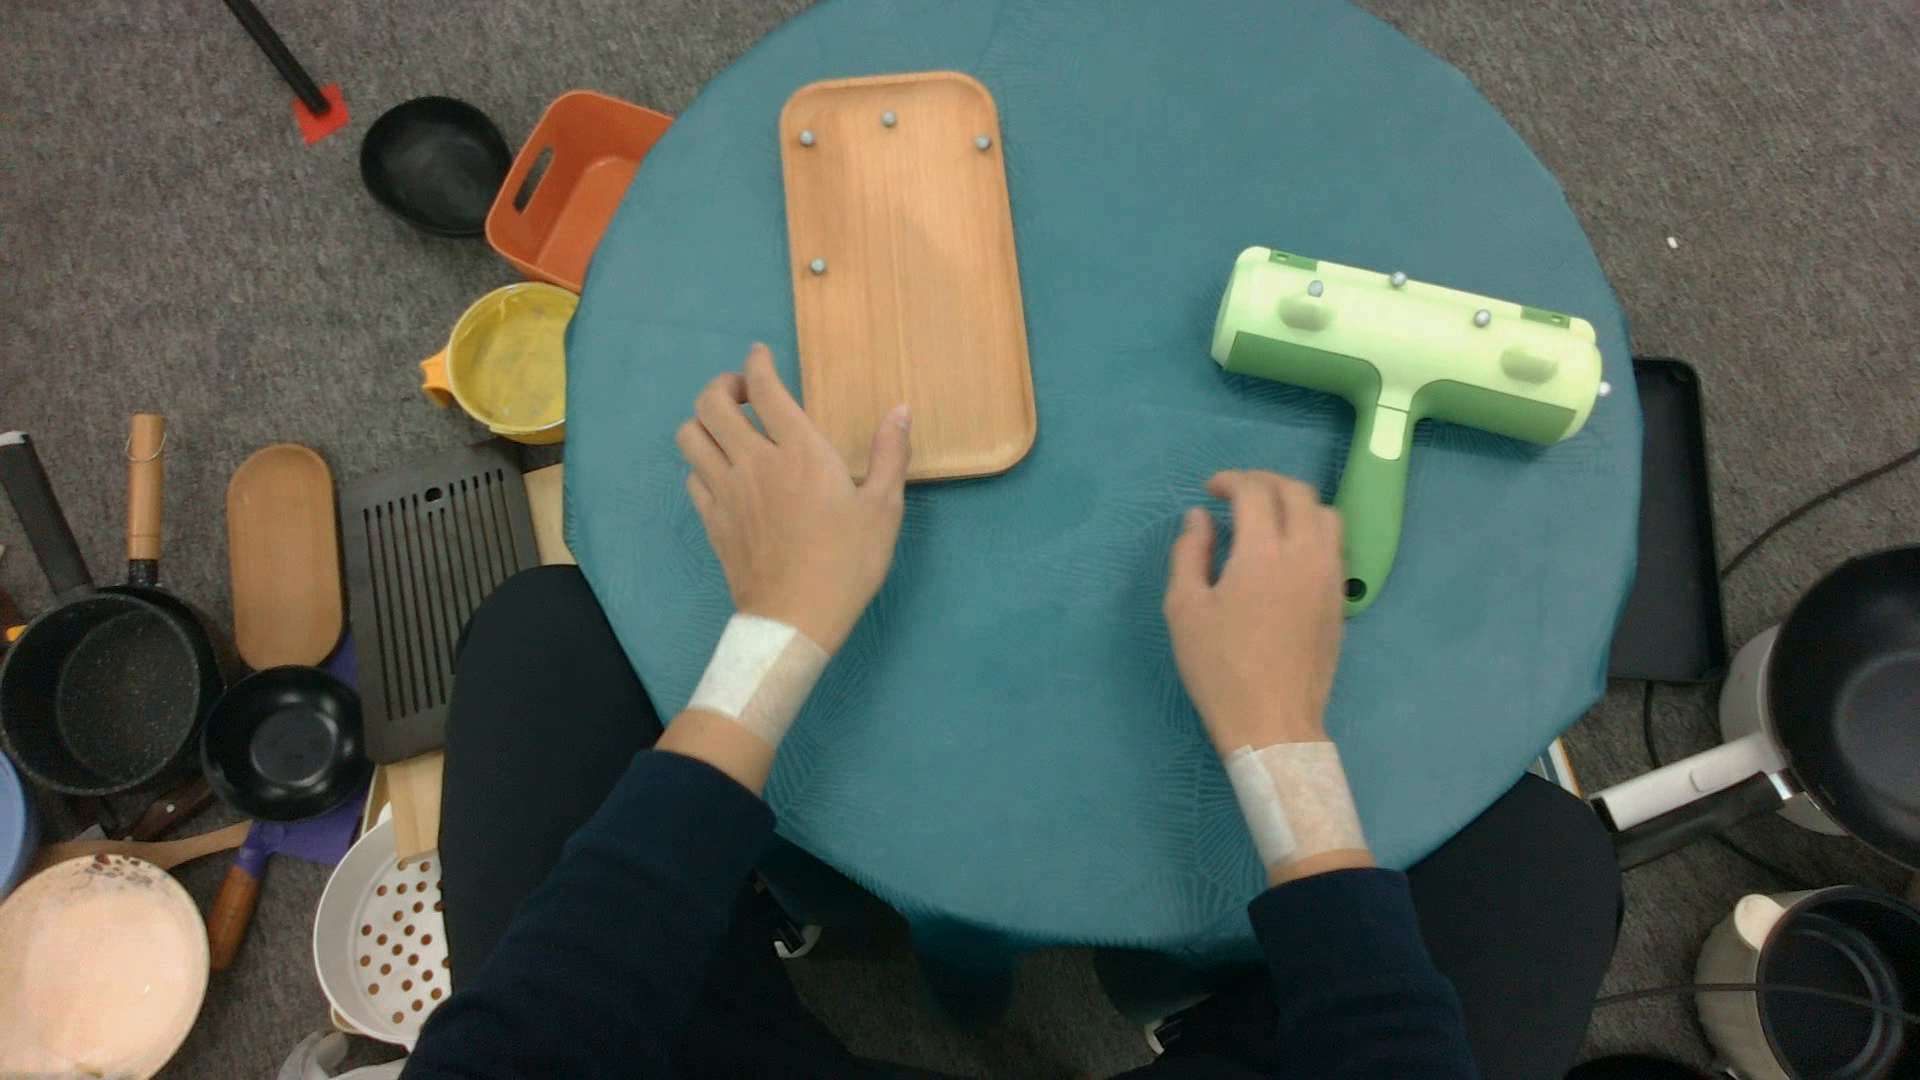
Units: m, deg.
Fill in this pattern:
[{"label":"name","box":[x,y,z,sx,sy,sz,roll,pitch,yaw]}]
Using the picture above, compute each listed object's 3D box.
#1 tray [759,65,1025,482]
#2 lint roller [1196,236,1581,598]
[{"label":"tray","box":[-0.040,-0.154,0.777,0.130,0.023,0.251,-7,75,-1]},{"label":"lint roller","box":[0.218,-0.065,0.718,0.198,0.082,0.184,12,68,4]}]
